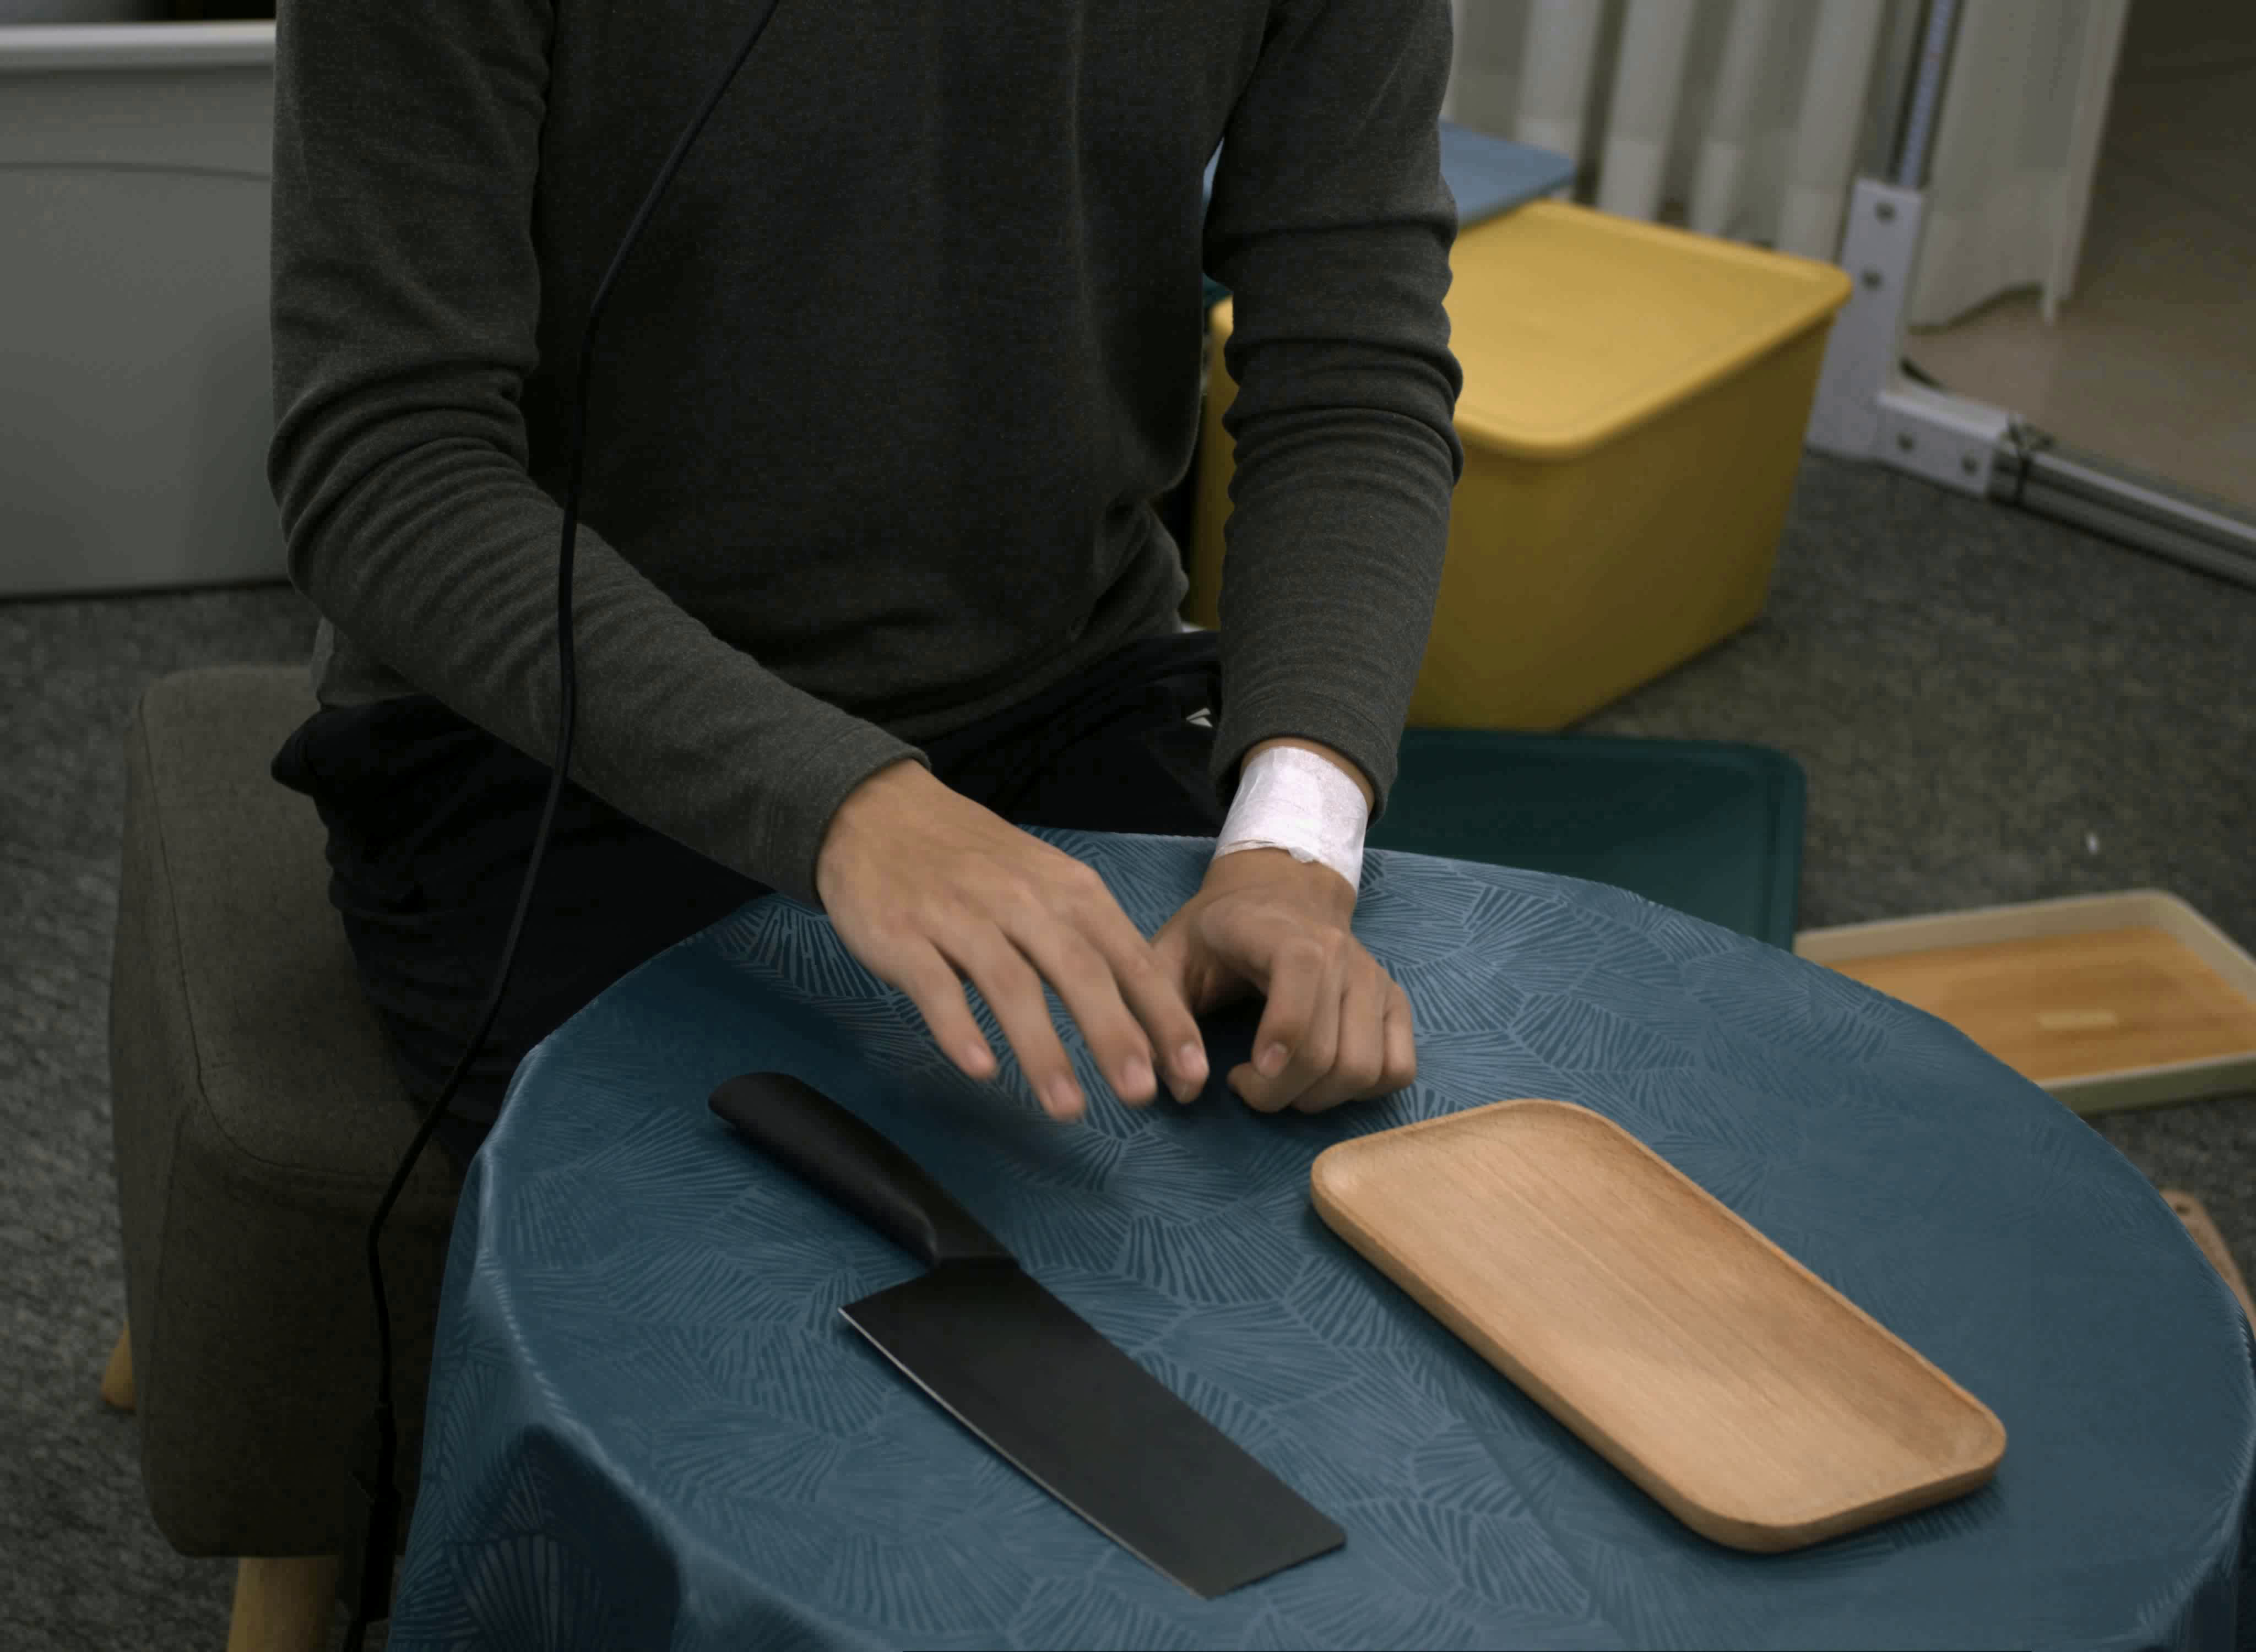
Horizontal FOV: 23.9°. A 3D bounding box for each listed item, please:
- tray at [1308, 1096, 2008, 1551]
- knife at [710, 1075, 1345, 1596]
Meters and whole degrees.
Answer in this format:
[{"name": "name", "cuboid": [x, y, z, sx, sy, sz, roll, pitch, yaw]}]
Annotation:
[{"name": "tray", "cuboid": [0.170, 0.161, 1.753, 0.129, 0.023, 0.253, -9, 29, -32]}, {"name": "knife", "cuboid": [-0.046, 0.160, 1.710, 0.080, 0.021, 0.305, -14, 35, -32]}]
